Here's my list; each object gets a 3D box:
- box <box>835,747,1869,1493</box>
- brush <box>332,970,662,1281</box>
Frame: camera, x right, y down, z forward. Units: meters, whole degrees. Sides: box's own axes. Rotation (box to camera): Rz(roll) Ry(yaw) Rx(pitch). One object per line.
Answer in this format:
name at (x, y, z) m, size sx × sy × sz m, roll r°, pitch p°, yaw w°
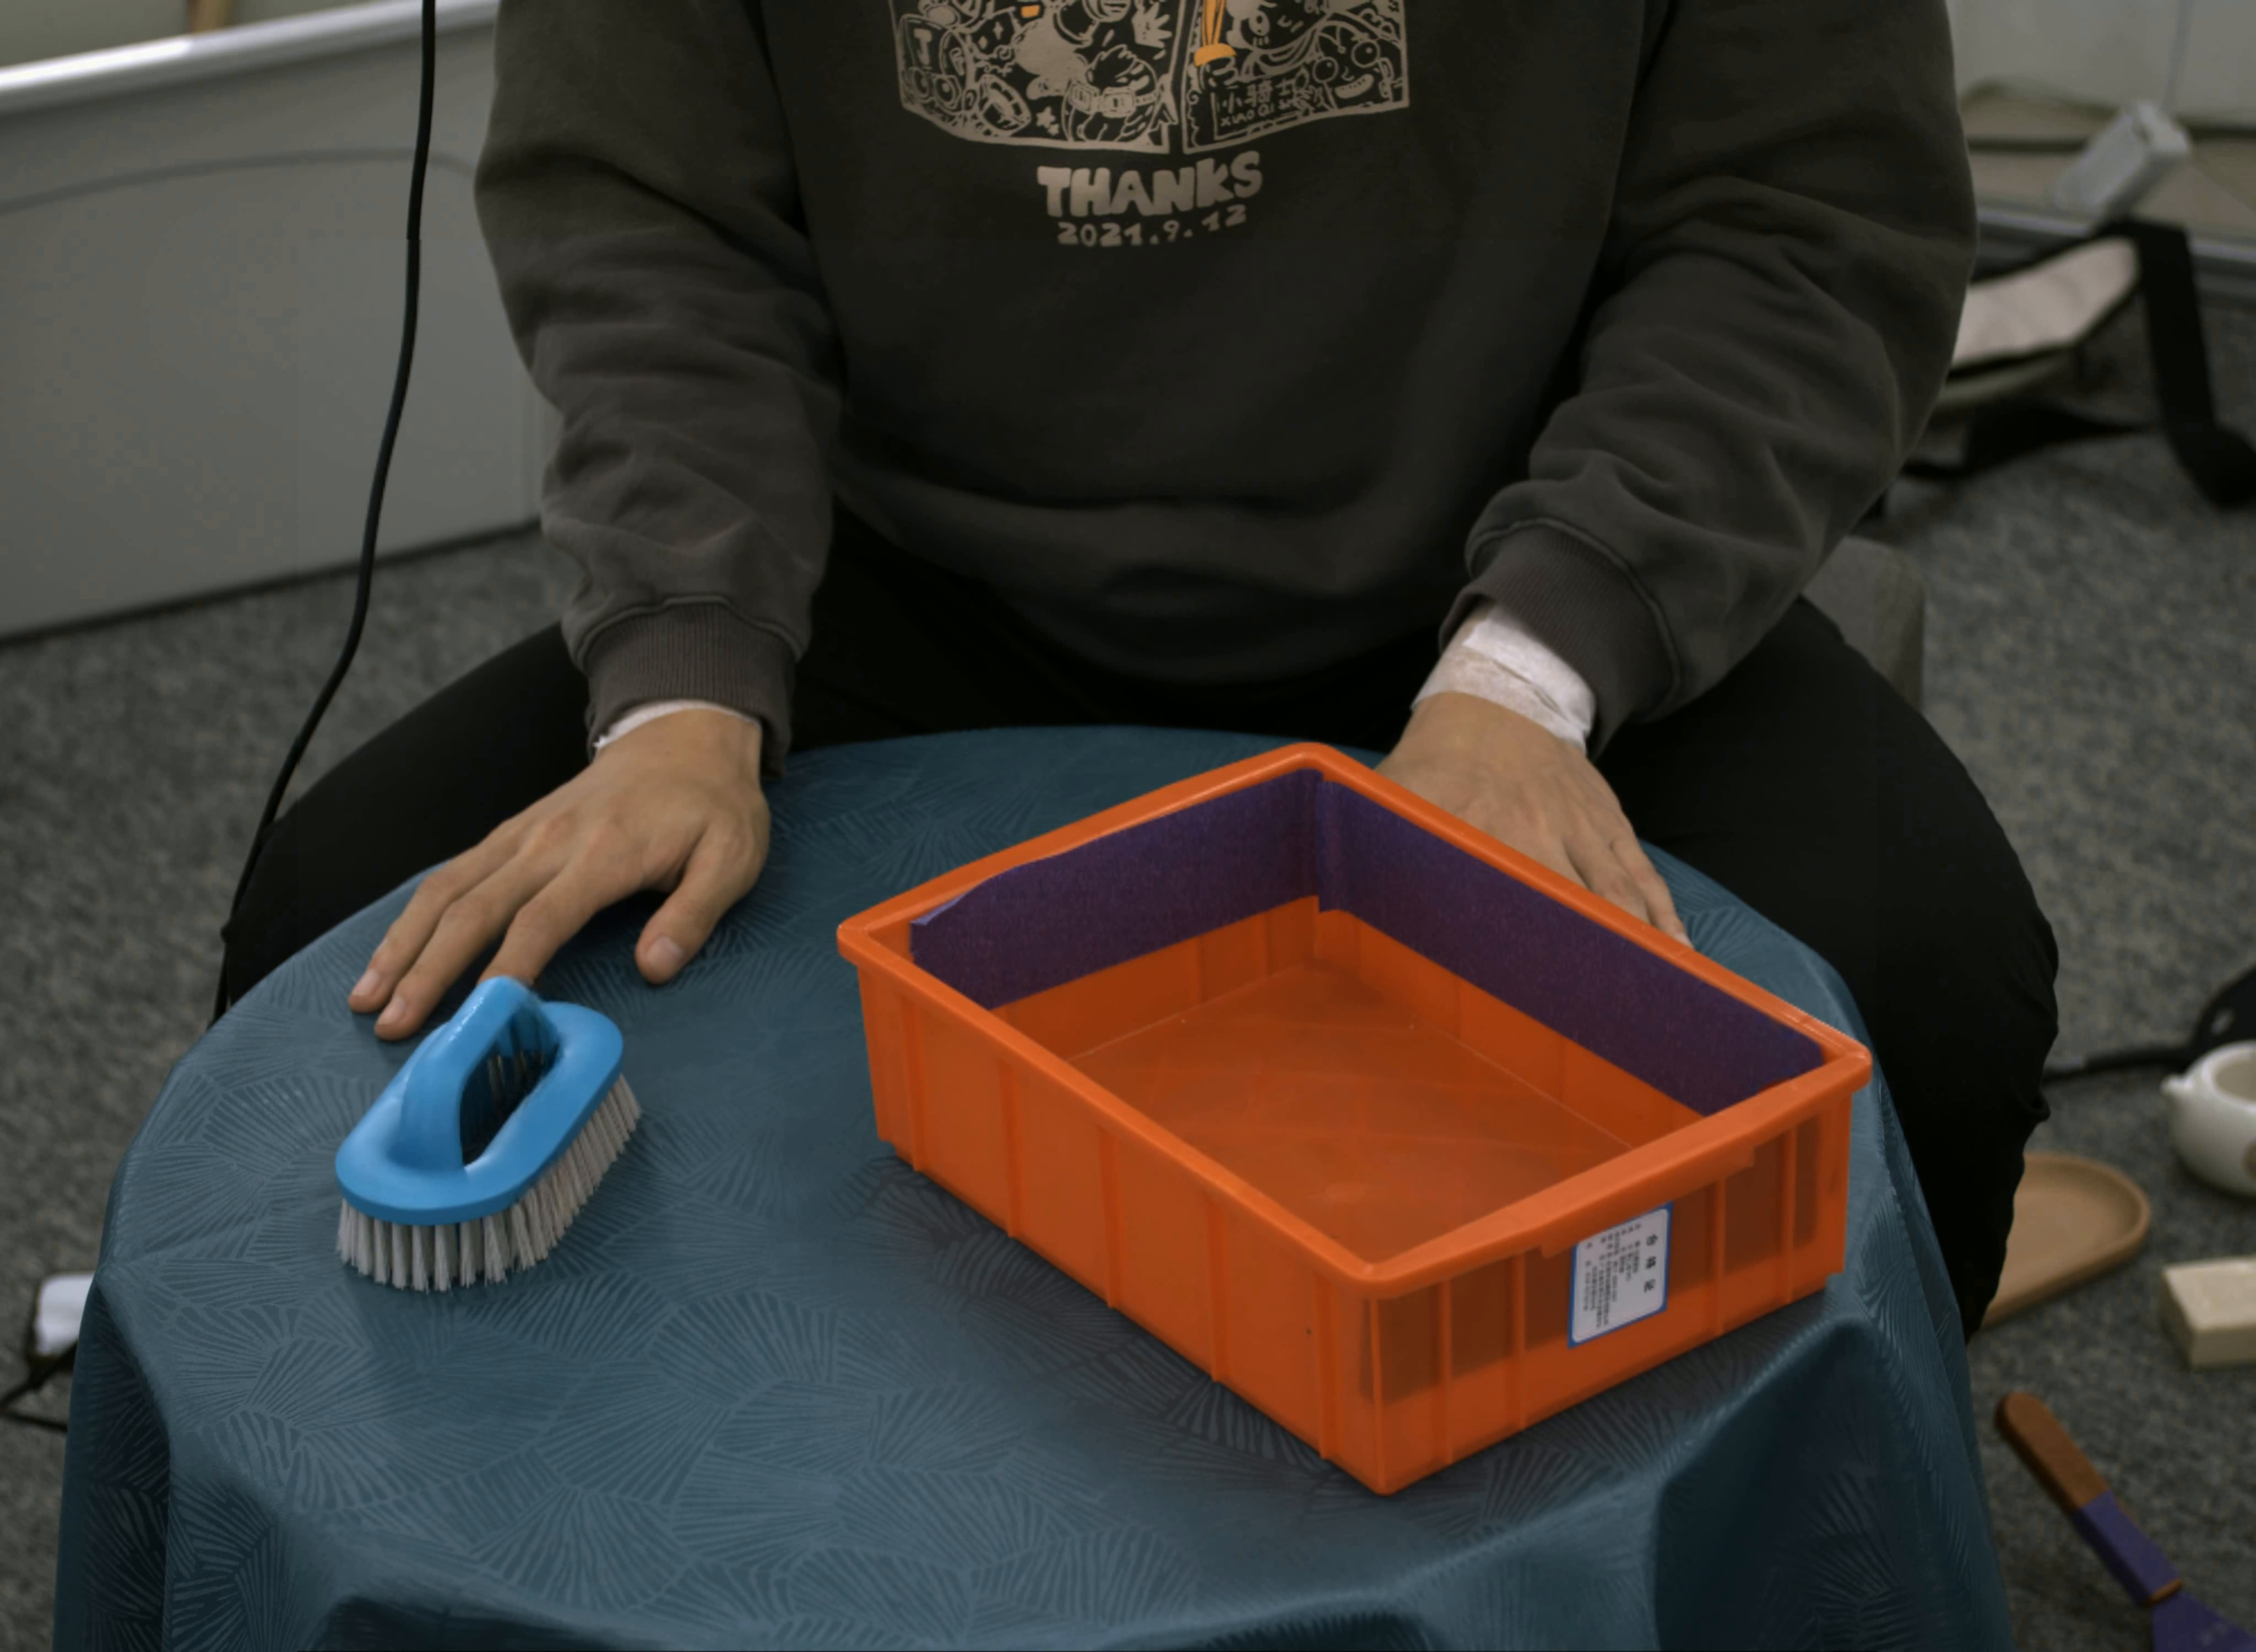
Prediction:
box at (0.069, 0.091, 1.822) m, size 0.208 × 0.095 × 0.304 m, roll -20°, pitch 32°, yaw -30°
brush at (-0.213, 0.091, 1.871) m, size 0.083 × 0.063 × 0.144 m, roll 2°, pitch 26°, yaw 20°
